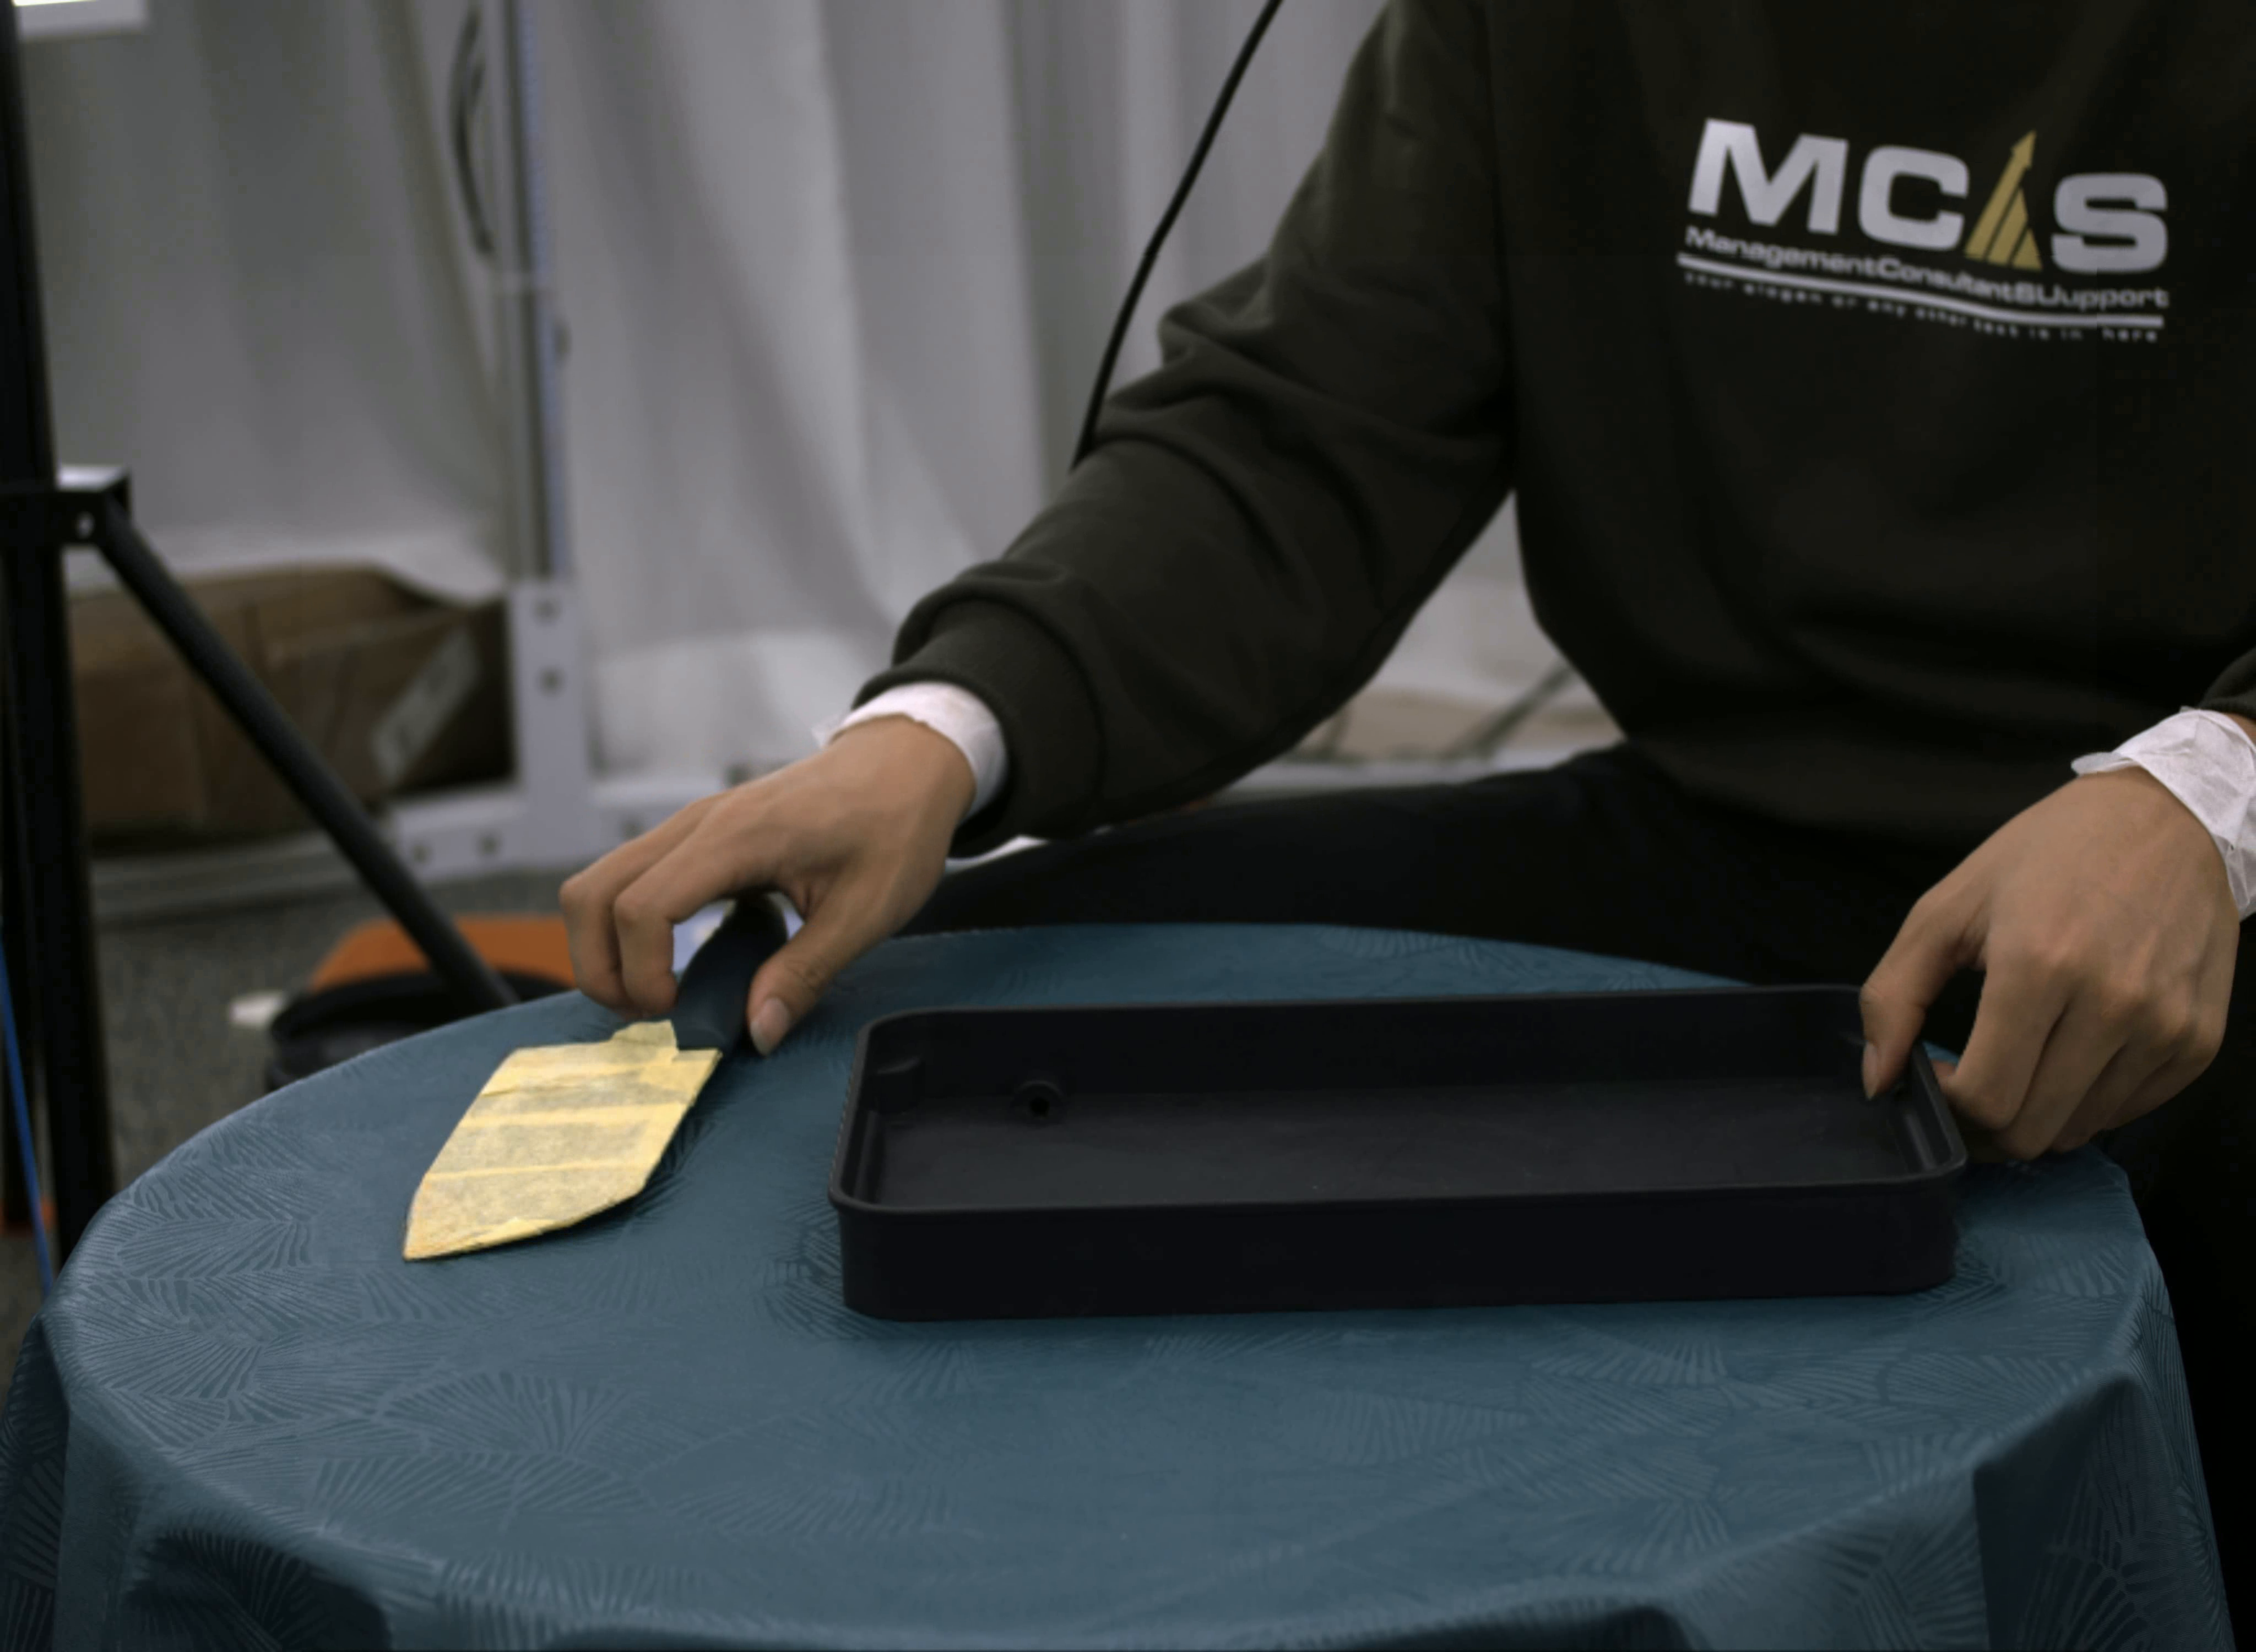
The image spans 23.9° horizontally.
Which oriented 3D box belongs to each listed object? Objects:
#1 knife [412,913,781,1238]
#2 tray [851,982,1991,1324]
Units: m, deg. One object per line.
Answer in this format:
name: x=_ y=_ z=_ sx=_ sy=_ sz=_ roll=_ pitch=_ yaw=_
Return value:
knife: x=-0.162 y=0.078 z=1.667 sx=0.081 sy=0.027 sz=0.288 roll=-1 pitch=16 yaw=12
tray: x=0.081 y=0.093 z=1.539 sx=0.317 sy=0.037 sz=0.185 roll=-2 pitch=15 yaw=2
